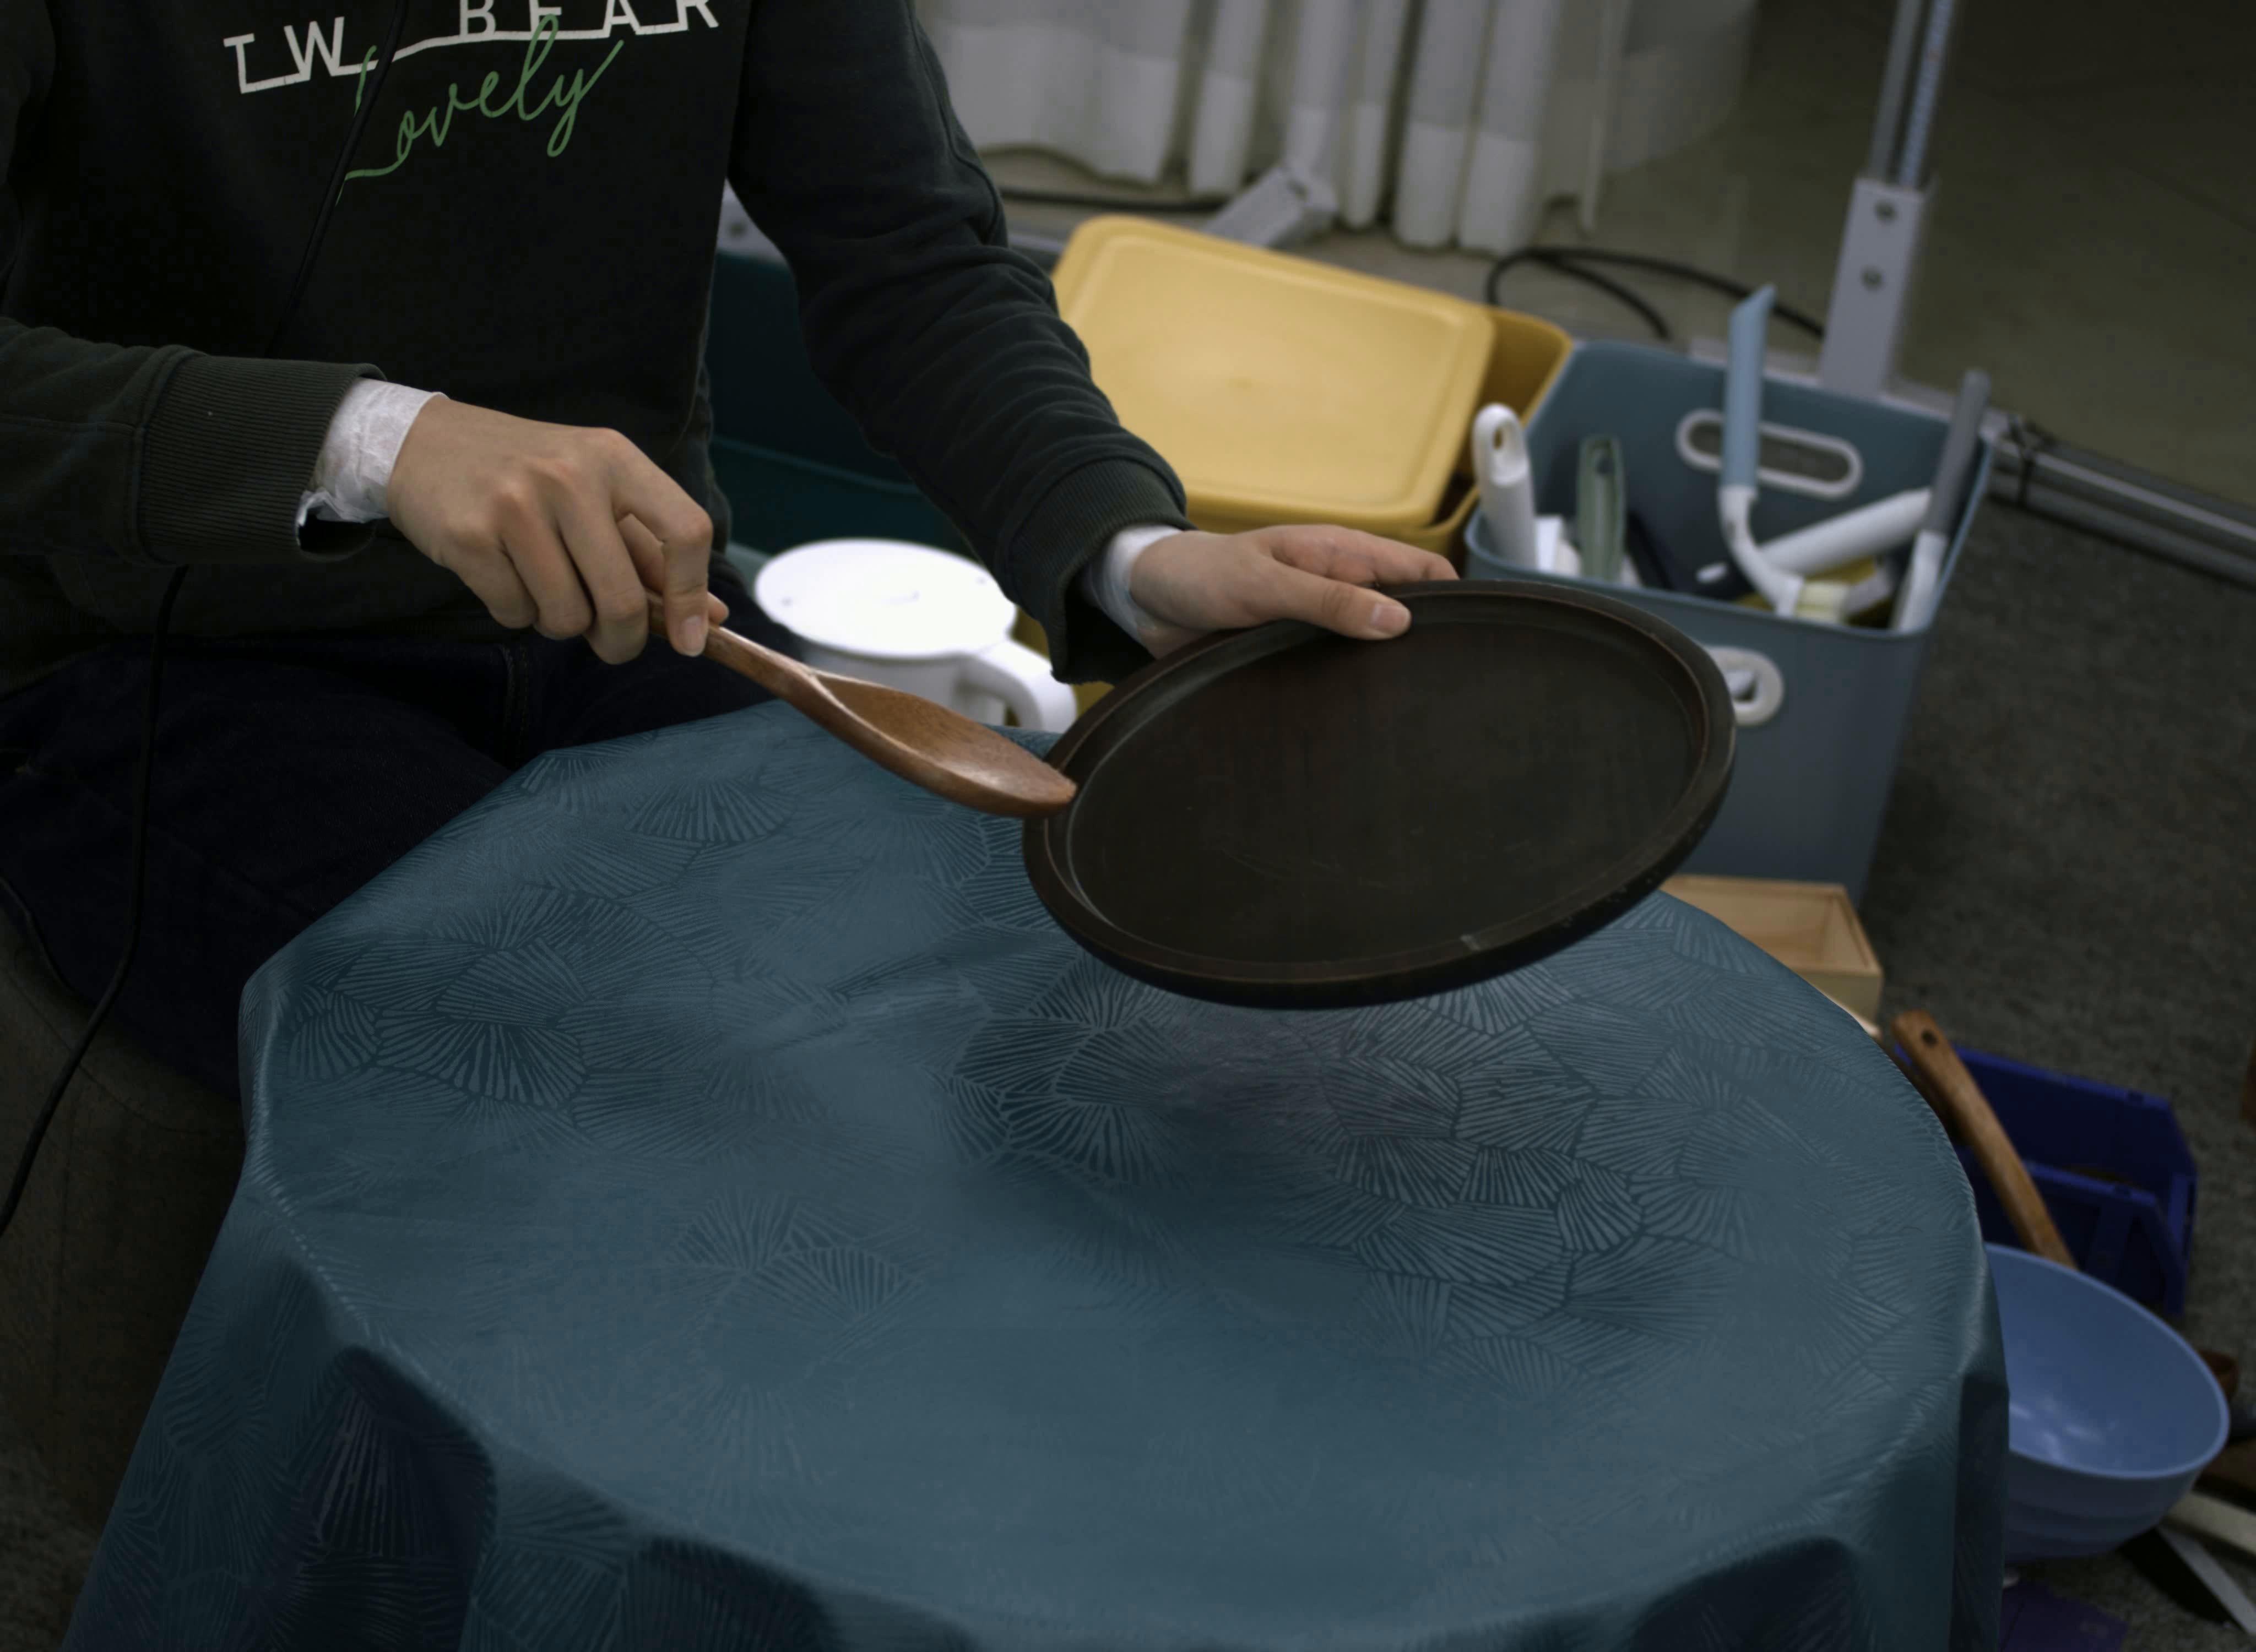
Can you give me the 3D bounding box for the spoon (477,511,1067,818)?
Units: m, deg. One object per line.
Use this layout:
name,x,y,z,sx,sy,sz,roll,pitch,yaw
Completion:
spoon,-0.119,-0.052,1.772,0.215,0.017,0.075,27,16,1

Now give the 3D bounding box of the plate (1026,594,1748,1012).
plate,0.089,-0.010,1.847,0.254,0.029,0.256,-9,32,5
